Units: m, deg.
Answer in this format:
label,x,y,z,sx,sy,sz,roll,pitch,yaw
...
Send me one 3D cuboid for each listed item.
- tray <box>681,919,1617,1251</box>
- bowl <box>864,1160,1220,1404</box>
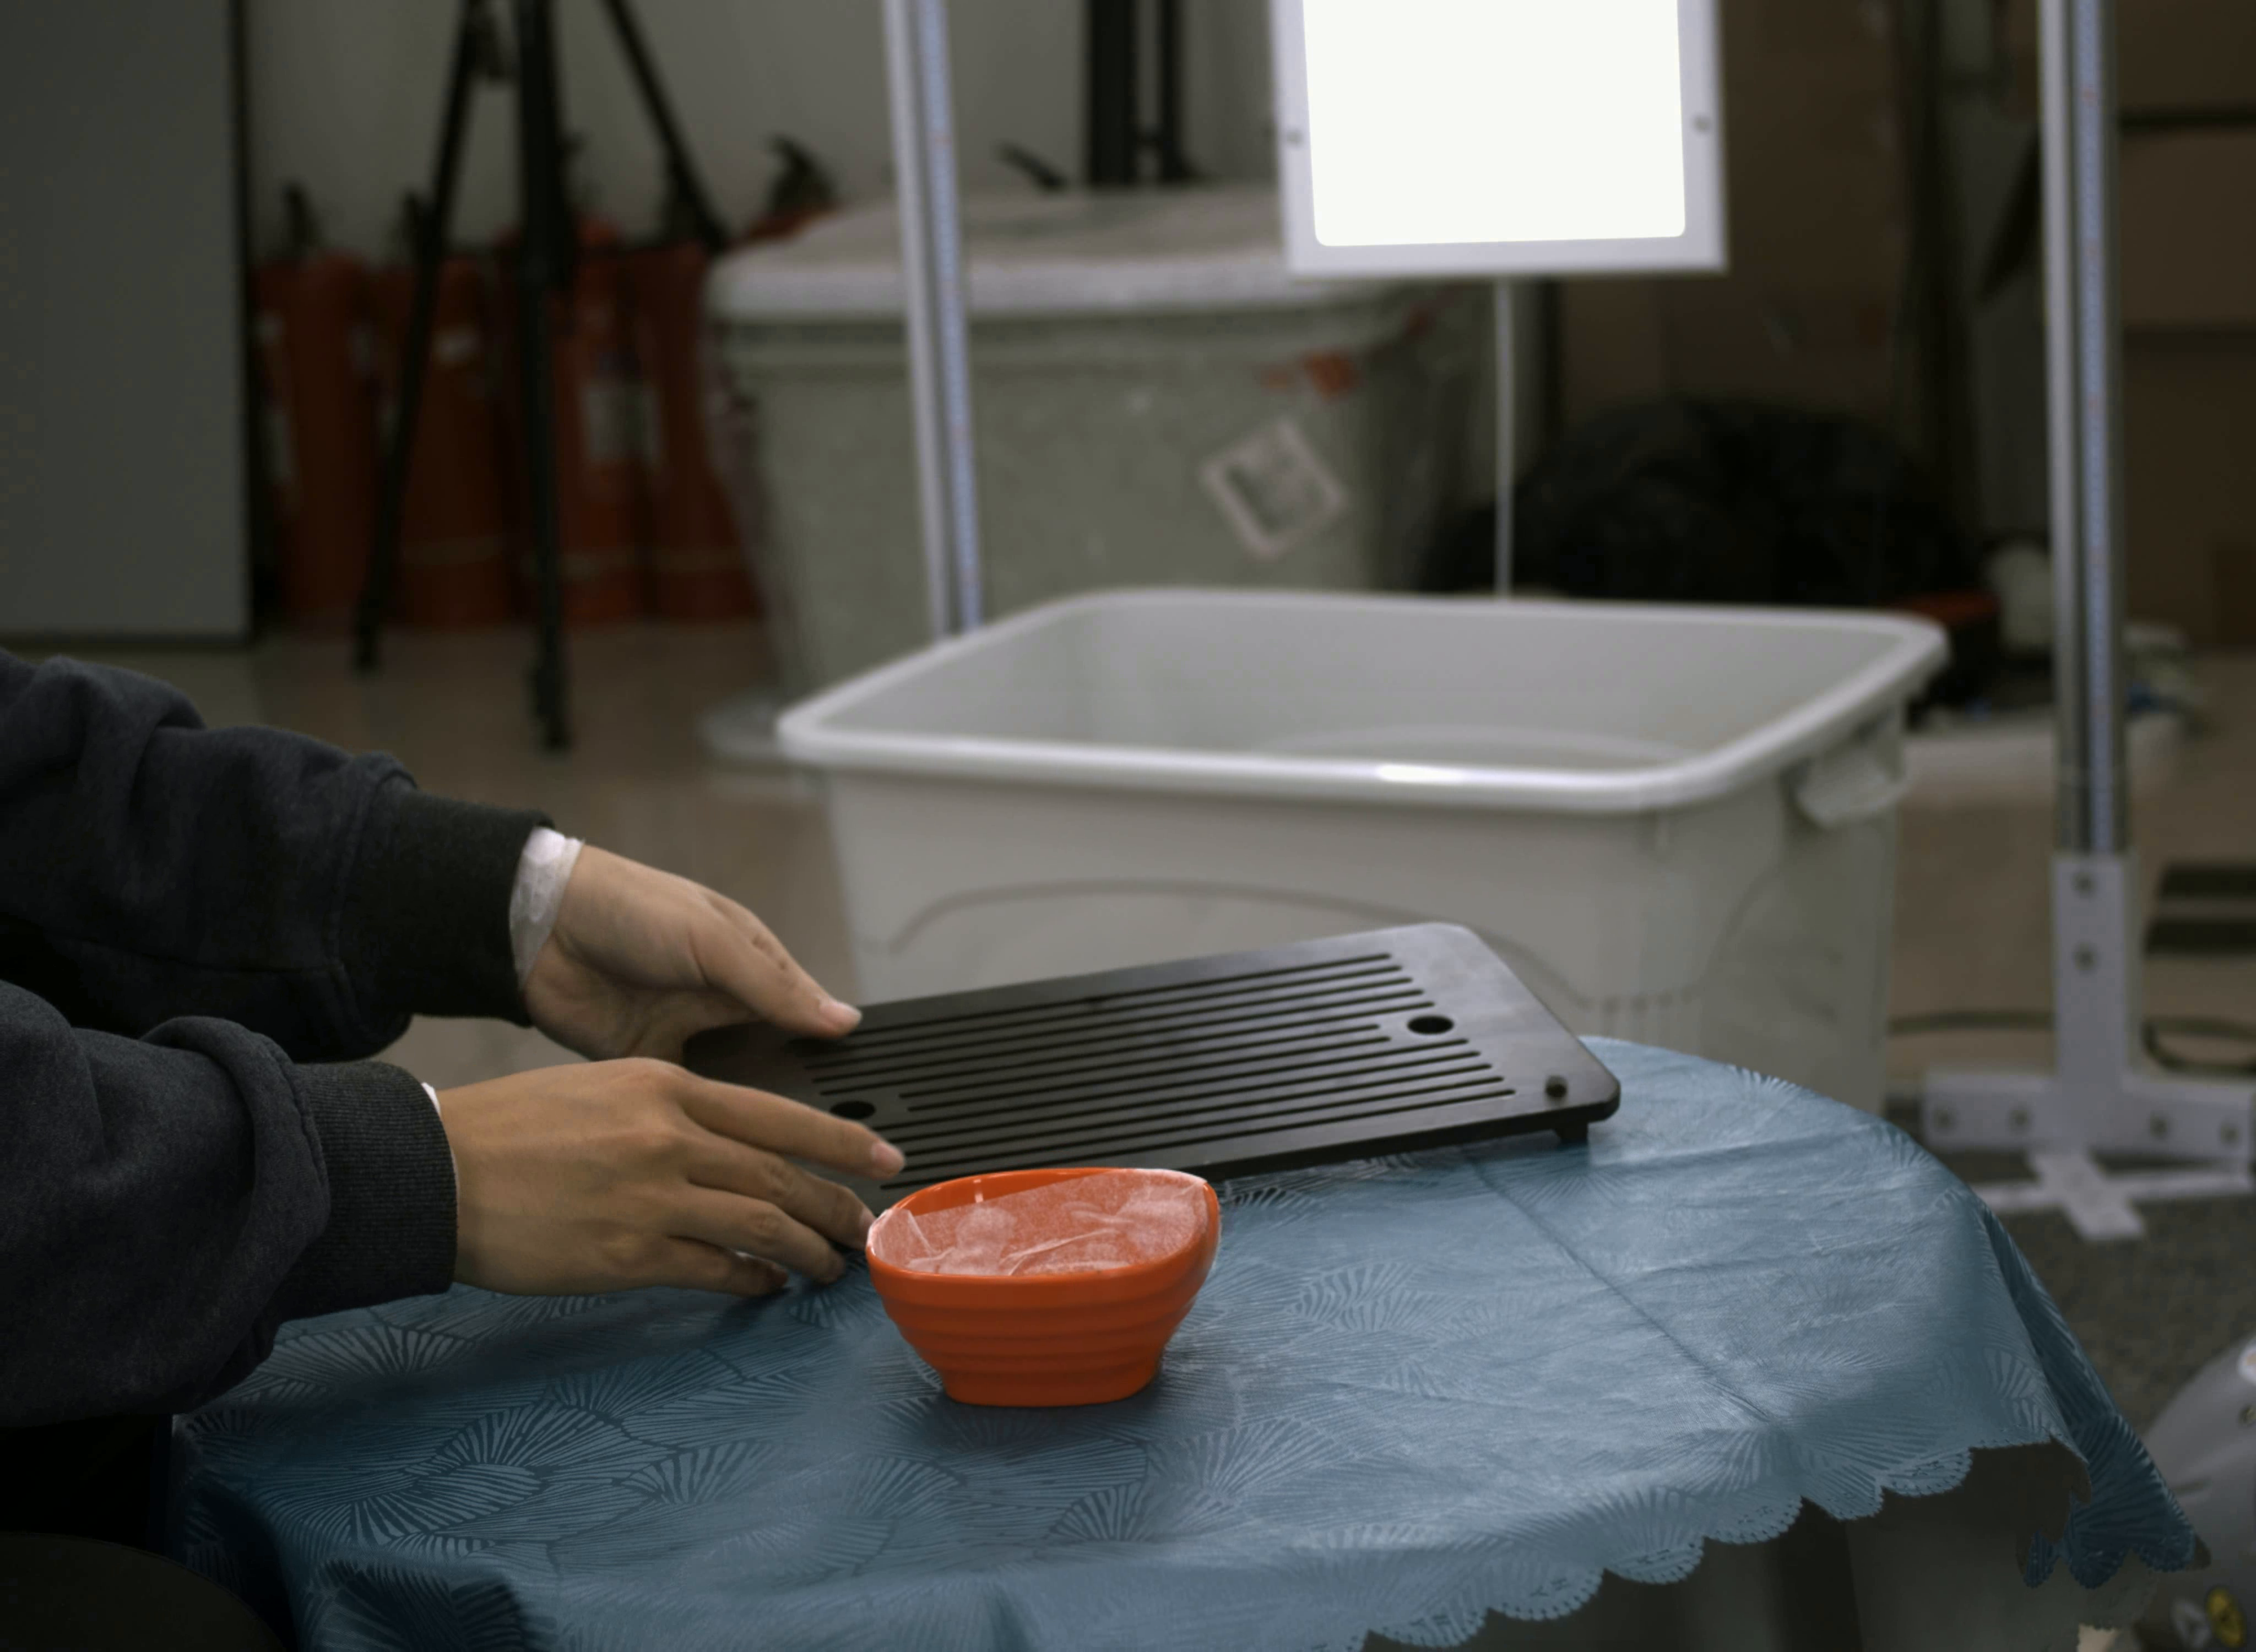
label,x,y,z,sx,sy,sz,roll,pitch,yaw
tray,0.006,0.090,1.949,0.302,0.019,0.171,-8,23,-13
bowl,-0.025,0.145,1.718,0.118,0.051,0.119,-4,15,0
